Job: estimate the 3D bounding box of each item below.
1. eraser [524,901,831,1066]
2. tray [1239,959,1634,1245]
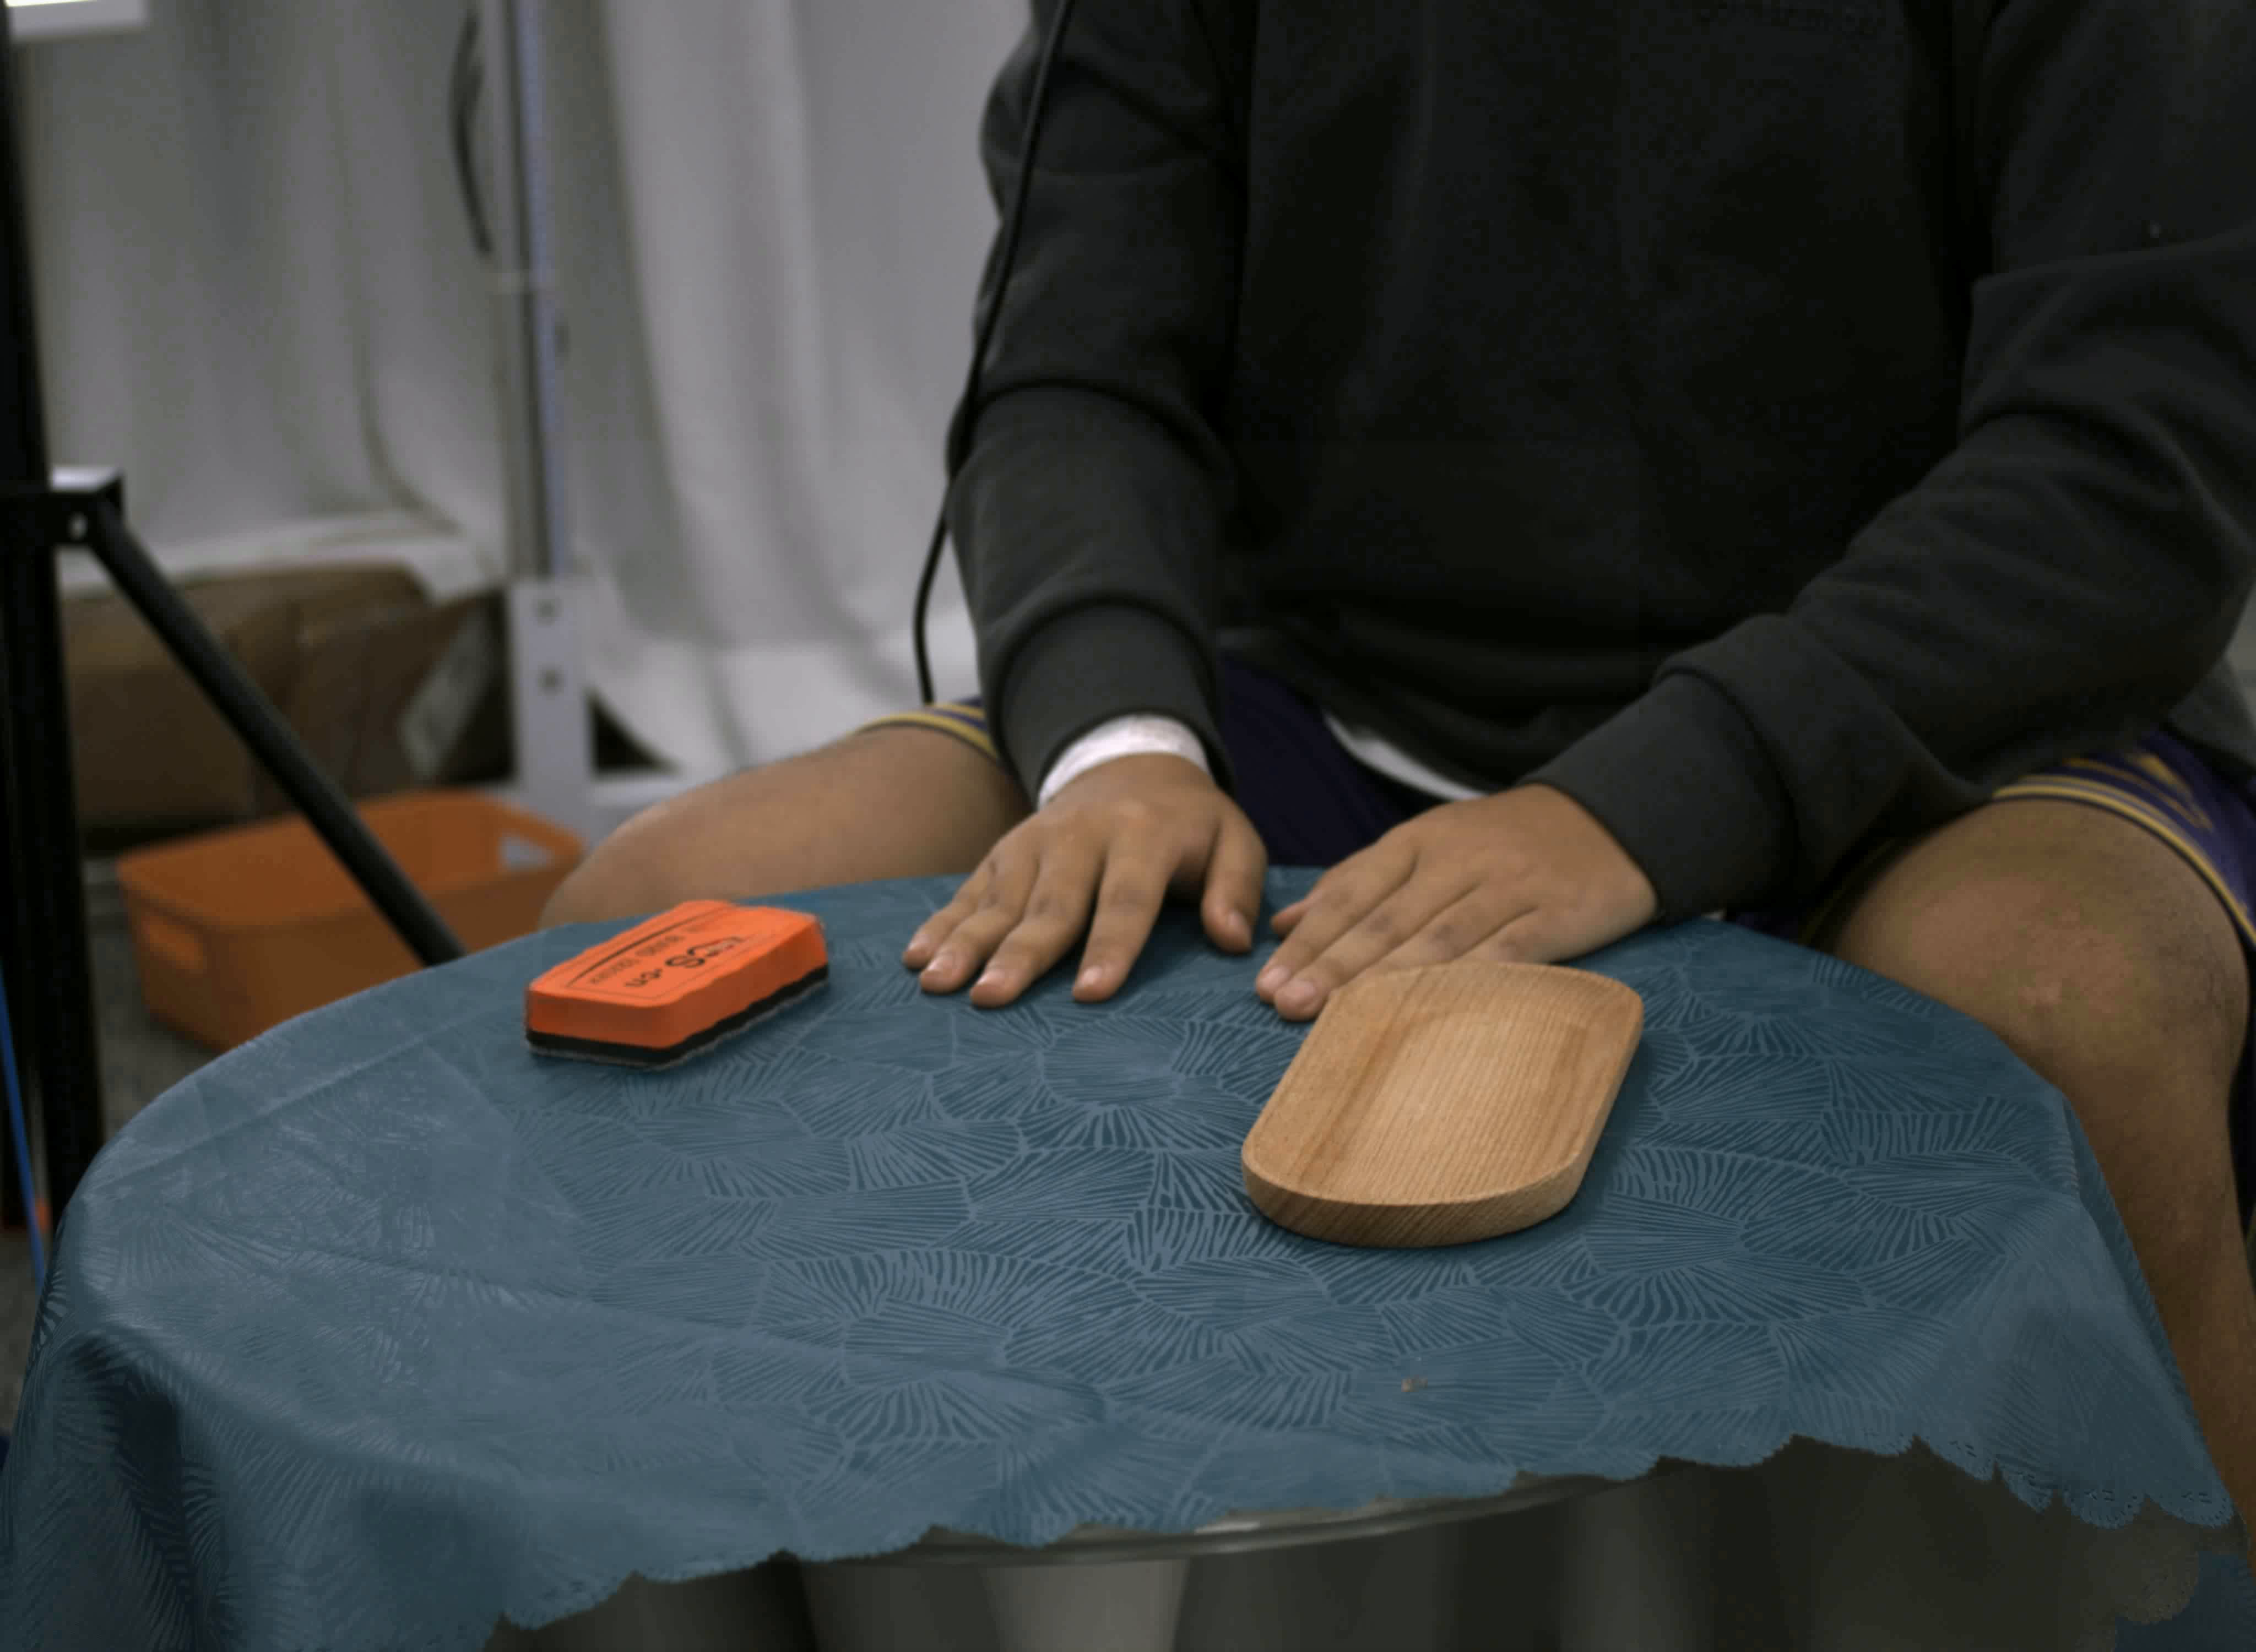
[{"bbox_3d":[-0.147,0.051,1.744,0.060,0.023,0.106,5,17,30],"label":"eraser"},{"bbox_3d":[0.096,0.082,1.608,0.102,0.020,0.230,2,15,12],"label":"tray"}]
